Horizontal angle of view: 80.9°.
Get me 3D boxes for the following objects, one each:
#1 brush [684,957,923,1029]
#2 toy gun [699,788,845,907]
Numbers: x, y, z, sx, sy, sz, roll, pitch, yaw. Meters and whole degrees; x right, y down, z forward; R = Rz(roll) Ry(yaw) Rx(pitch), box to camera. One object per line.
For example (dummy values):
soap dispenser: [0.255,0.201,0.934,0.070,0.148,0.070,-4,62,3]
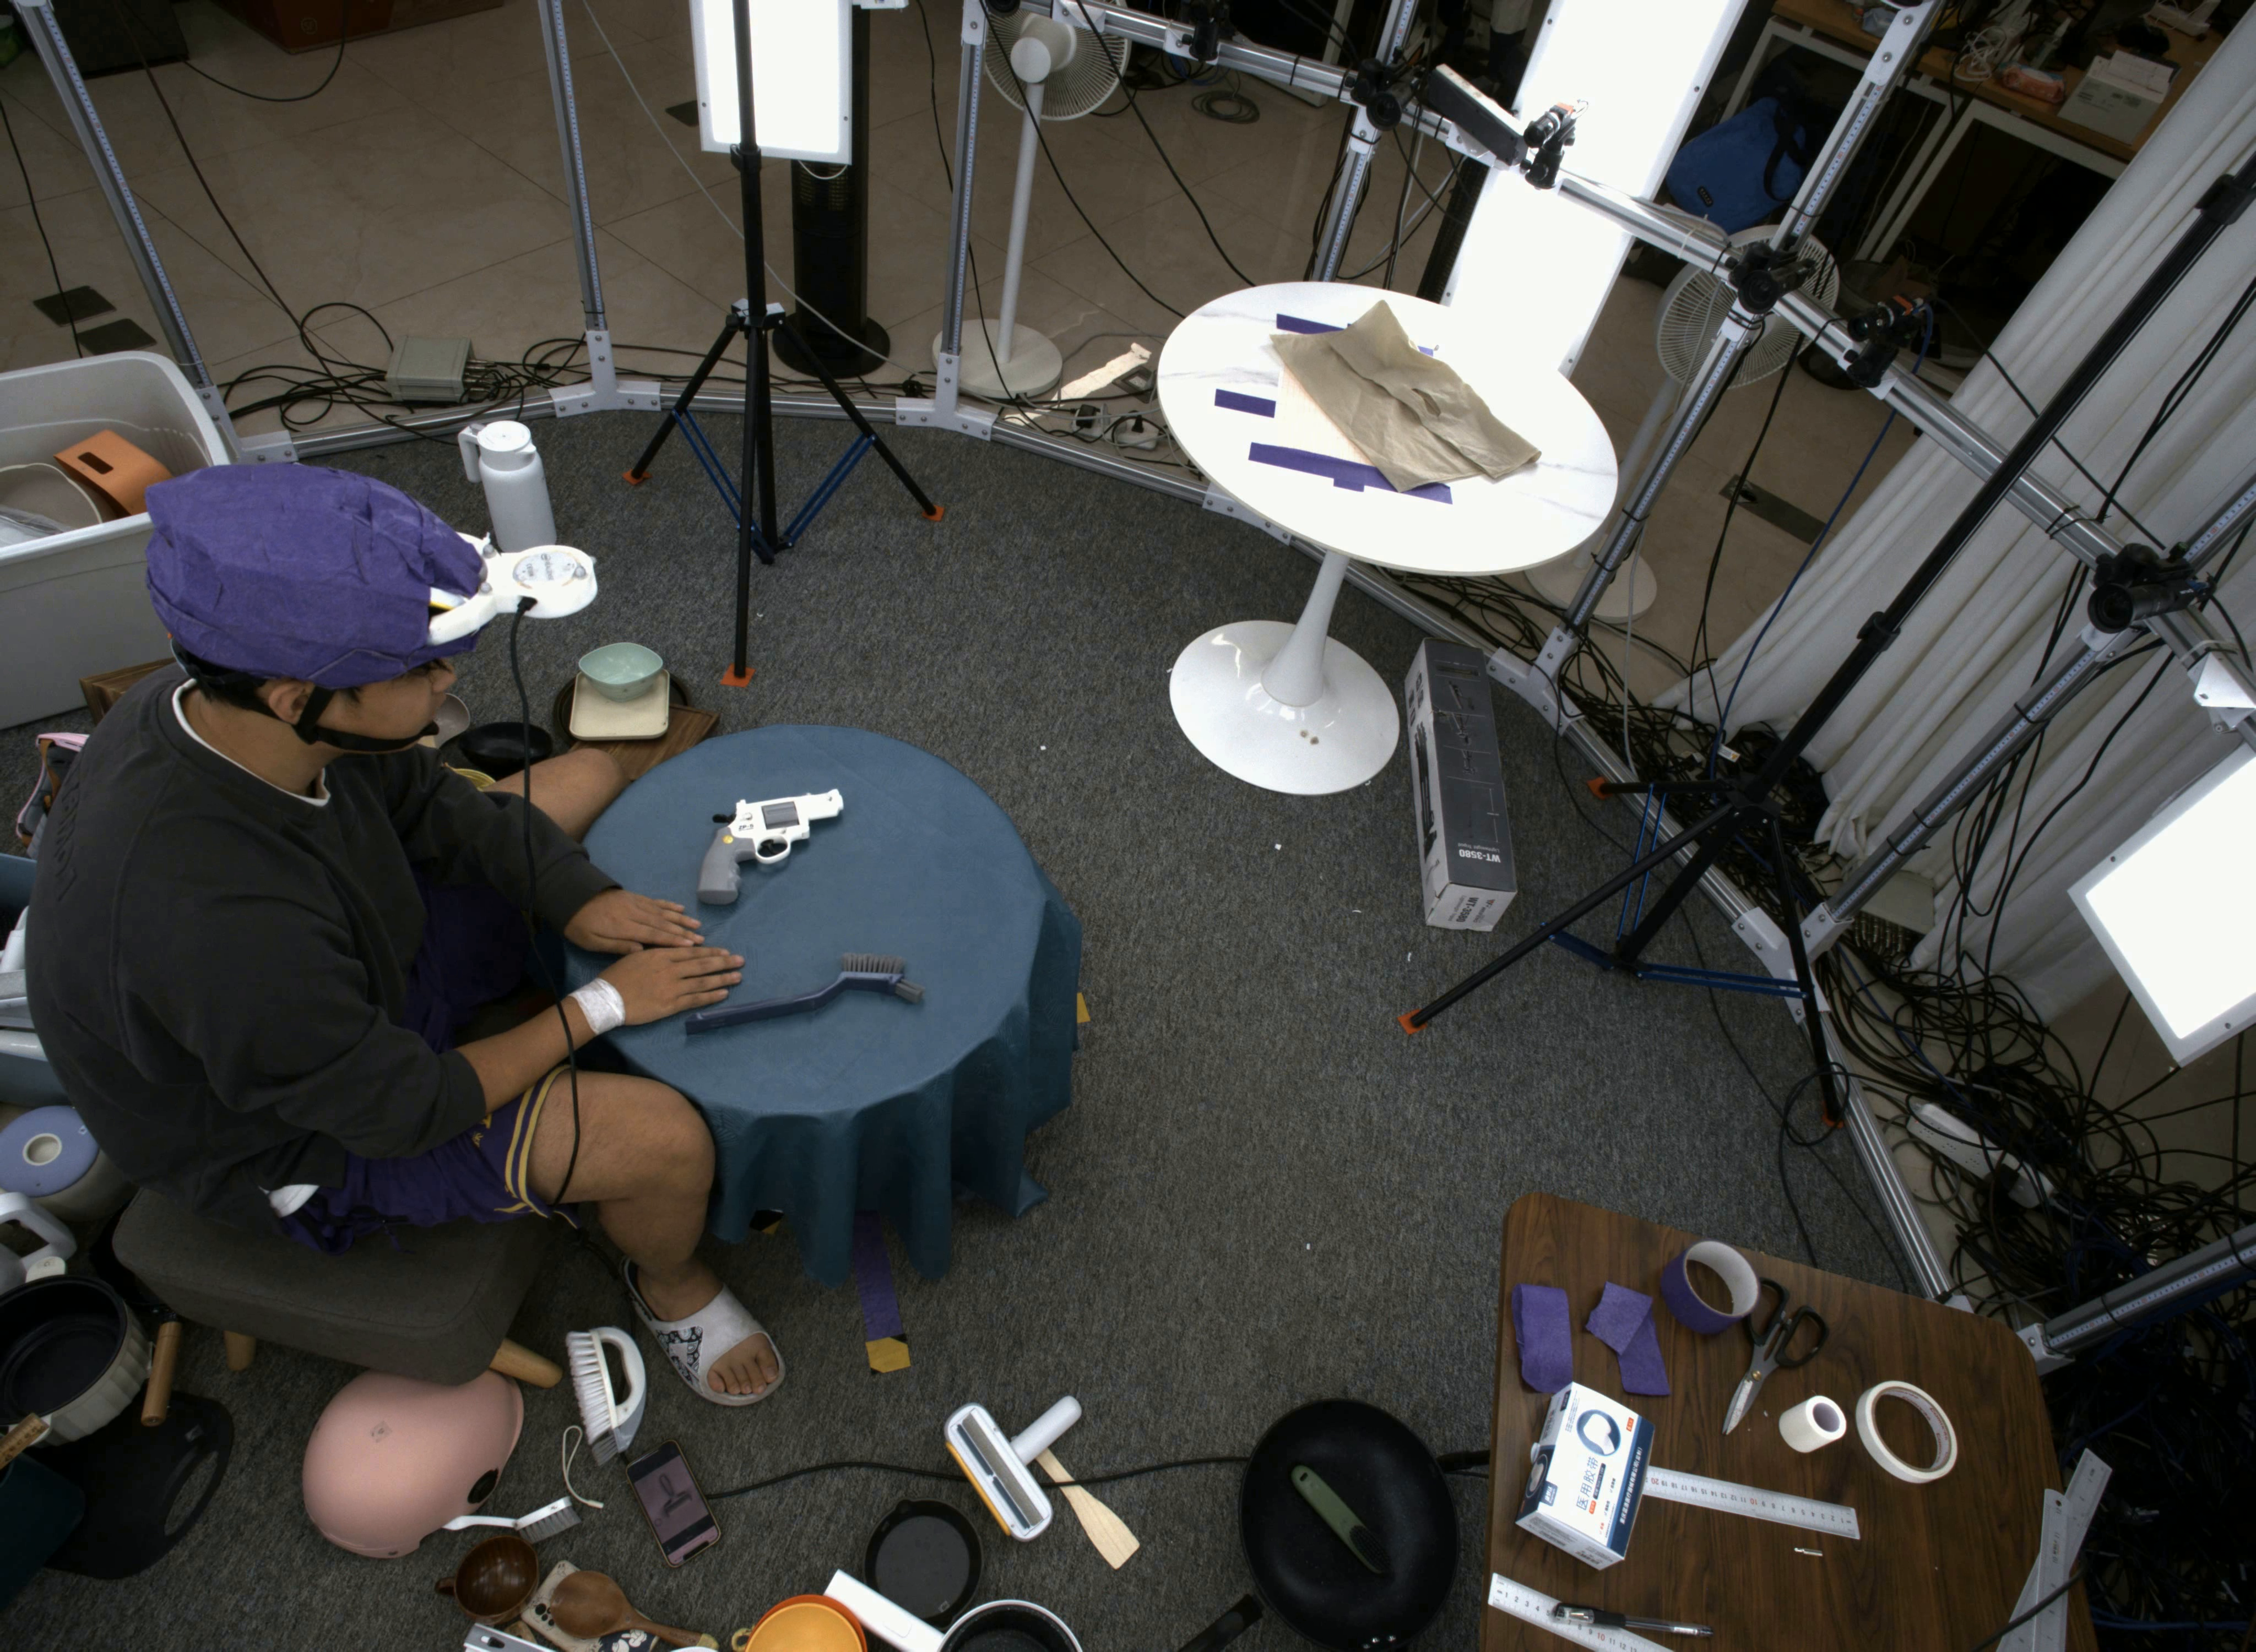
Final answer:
brush: [-0.389,0.214,1.557,0.275,0.034,0.093,-16,59,-25]
toy gun: [-0.461,0.021,1.679,0.210,0.039,0.138,-12,59,-21]
